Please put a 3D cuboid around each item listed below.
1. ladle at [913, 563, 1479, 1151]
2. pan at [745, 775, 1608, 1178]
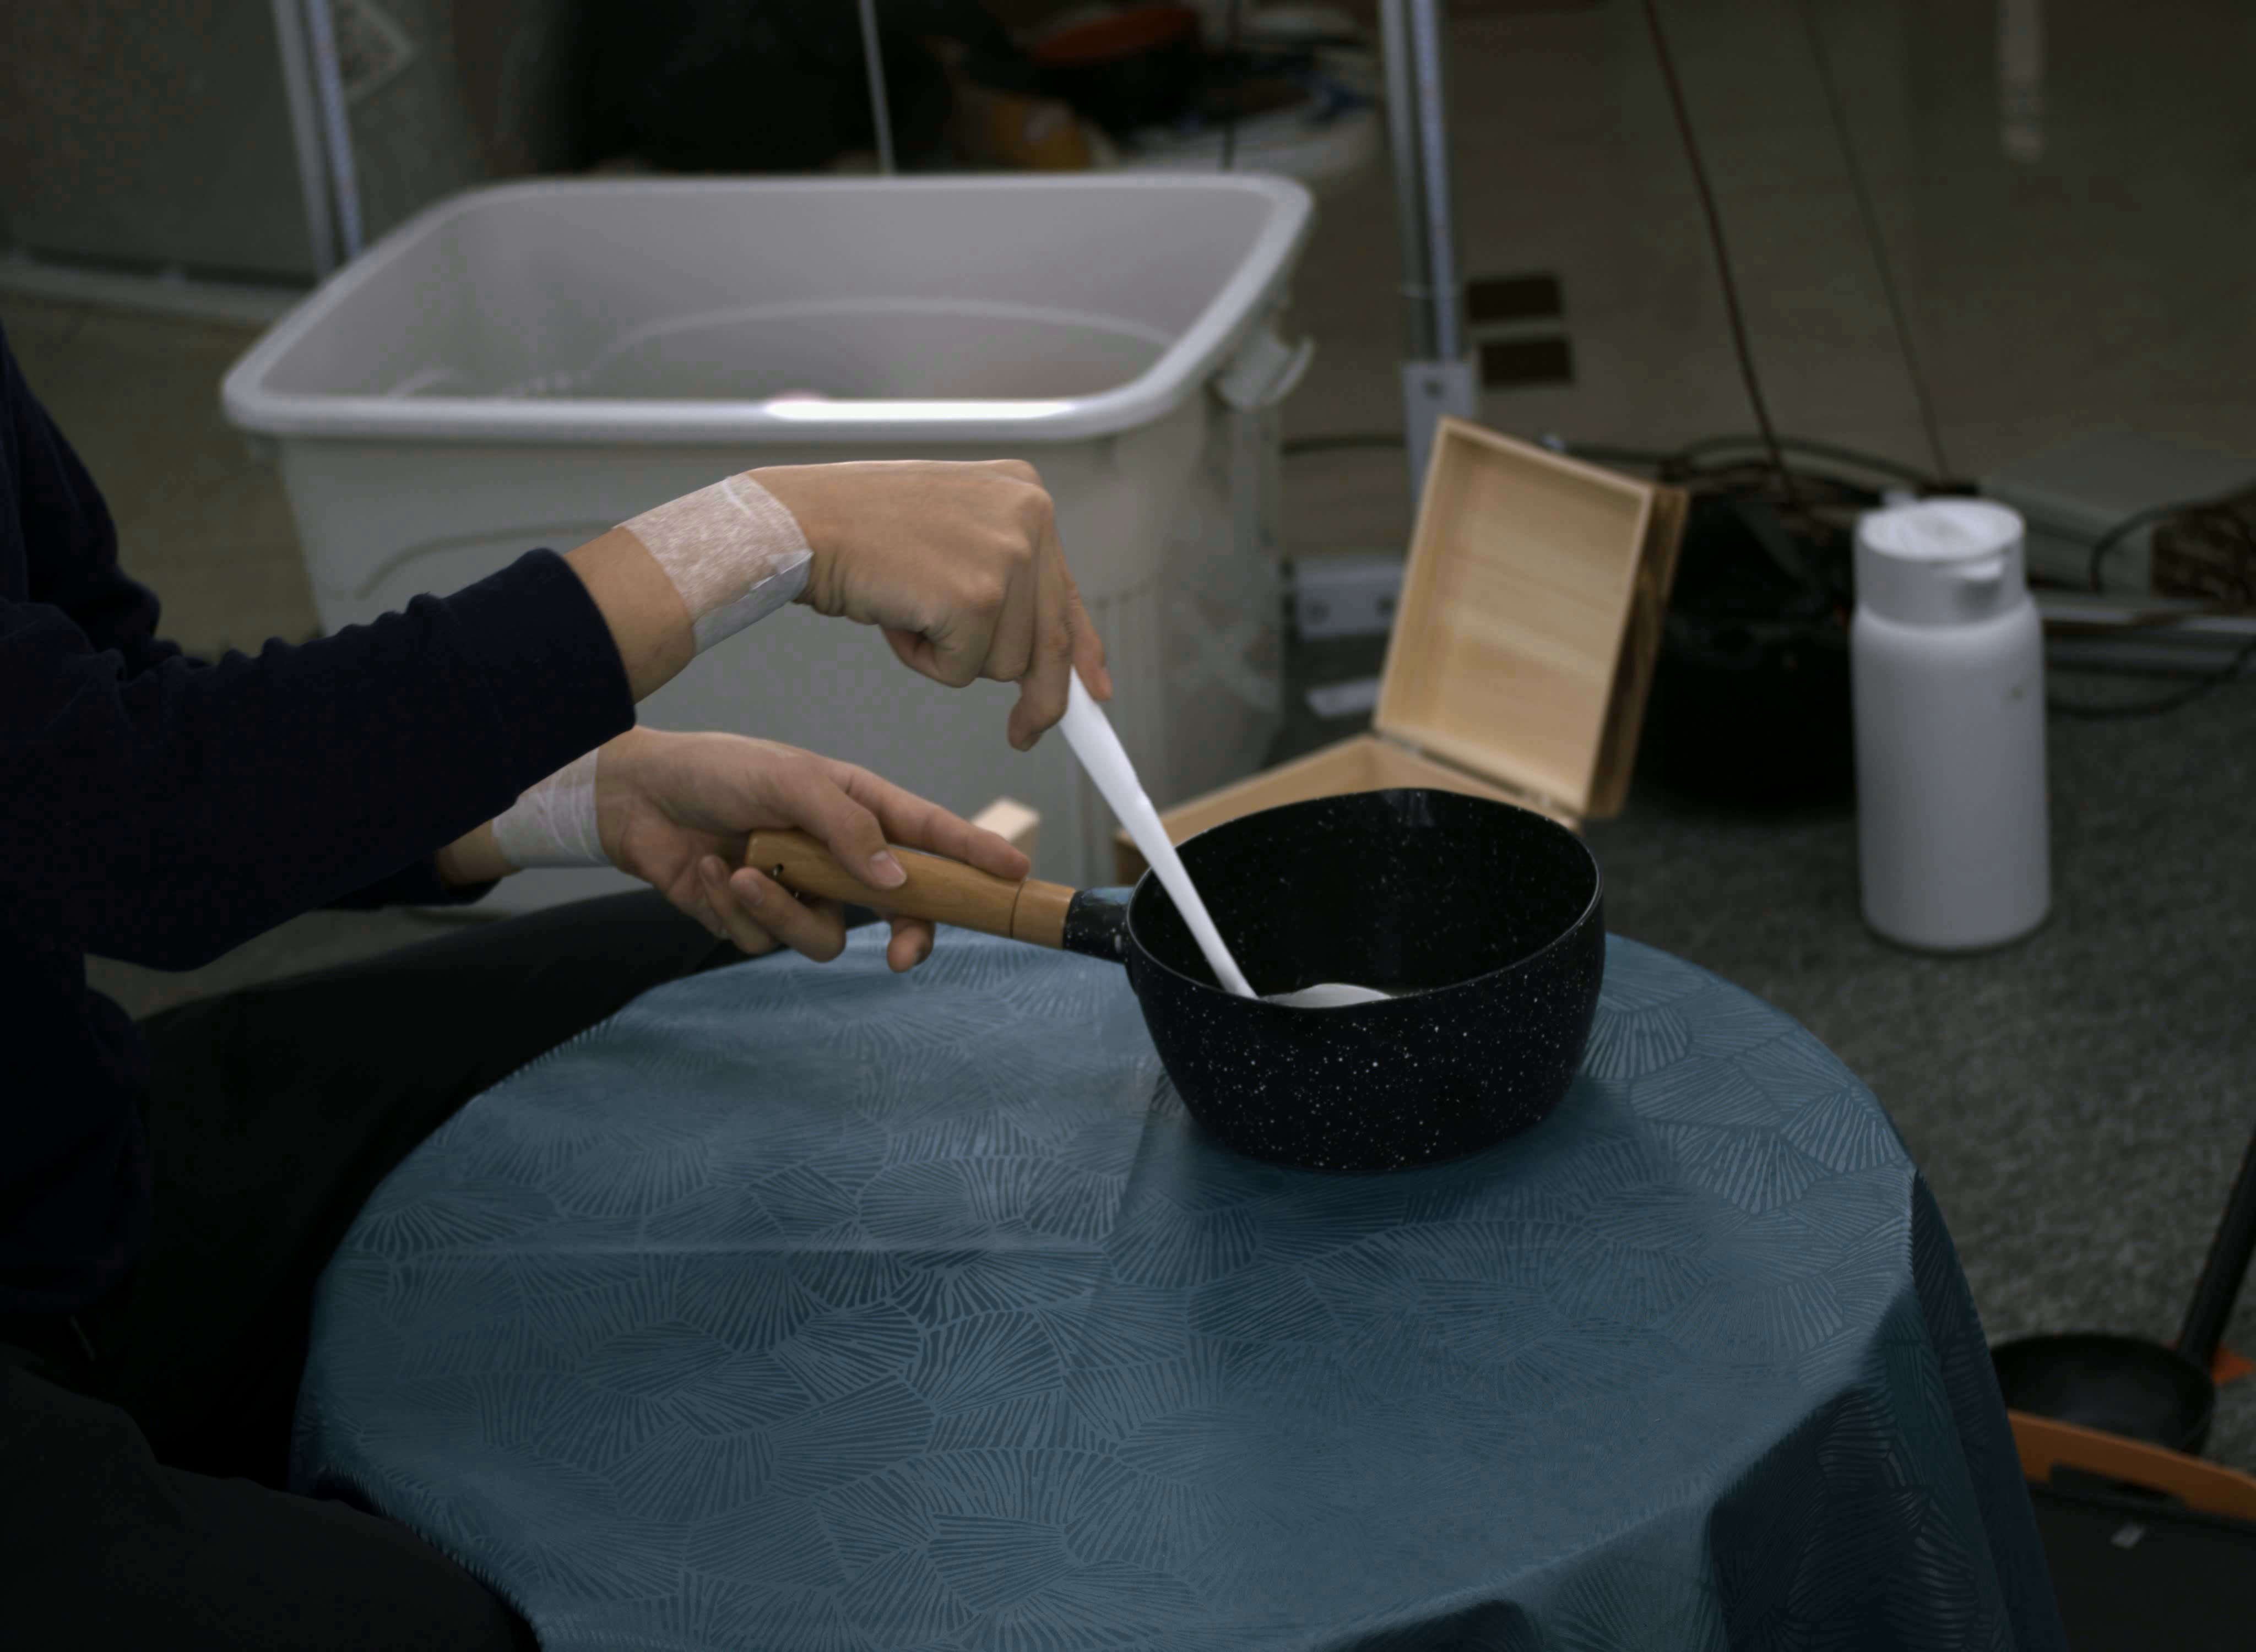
[{"bbox_3d":[0.031,0.011,2.103,0.070,0.297,0.088,-27,28,20],"label":"ladle"},{"bbox_3d":[0.016,0.051,2.201,0.342,0.110,0.204,2,27,14],"label":"pan"}]
